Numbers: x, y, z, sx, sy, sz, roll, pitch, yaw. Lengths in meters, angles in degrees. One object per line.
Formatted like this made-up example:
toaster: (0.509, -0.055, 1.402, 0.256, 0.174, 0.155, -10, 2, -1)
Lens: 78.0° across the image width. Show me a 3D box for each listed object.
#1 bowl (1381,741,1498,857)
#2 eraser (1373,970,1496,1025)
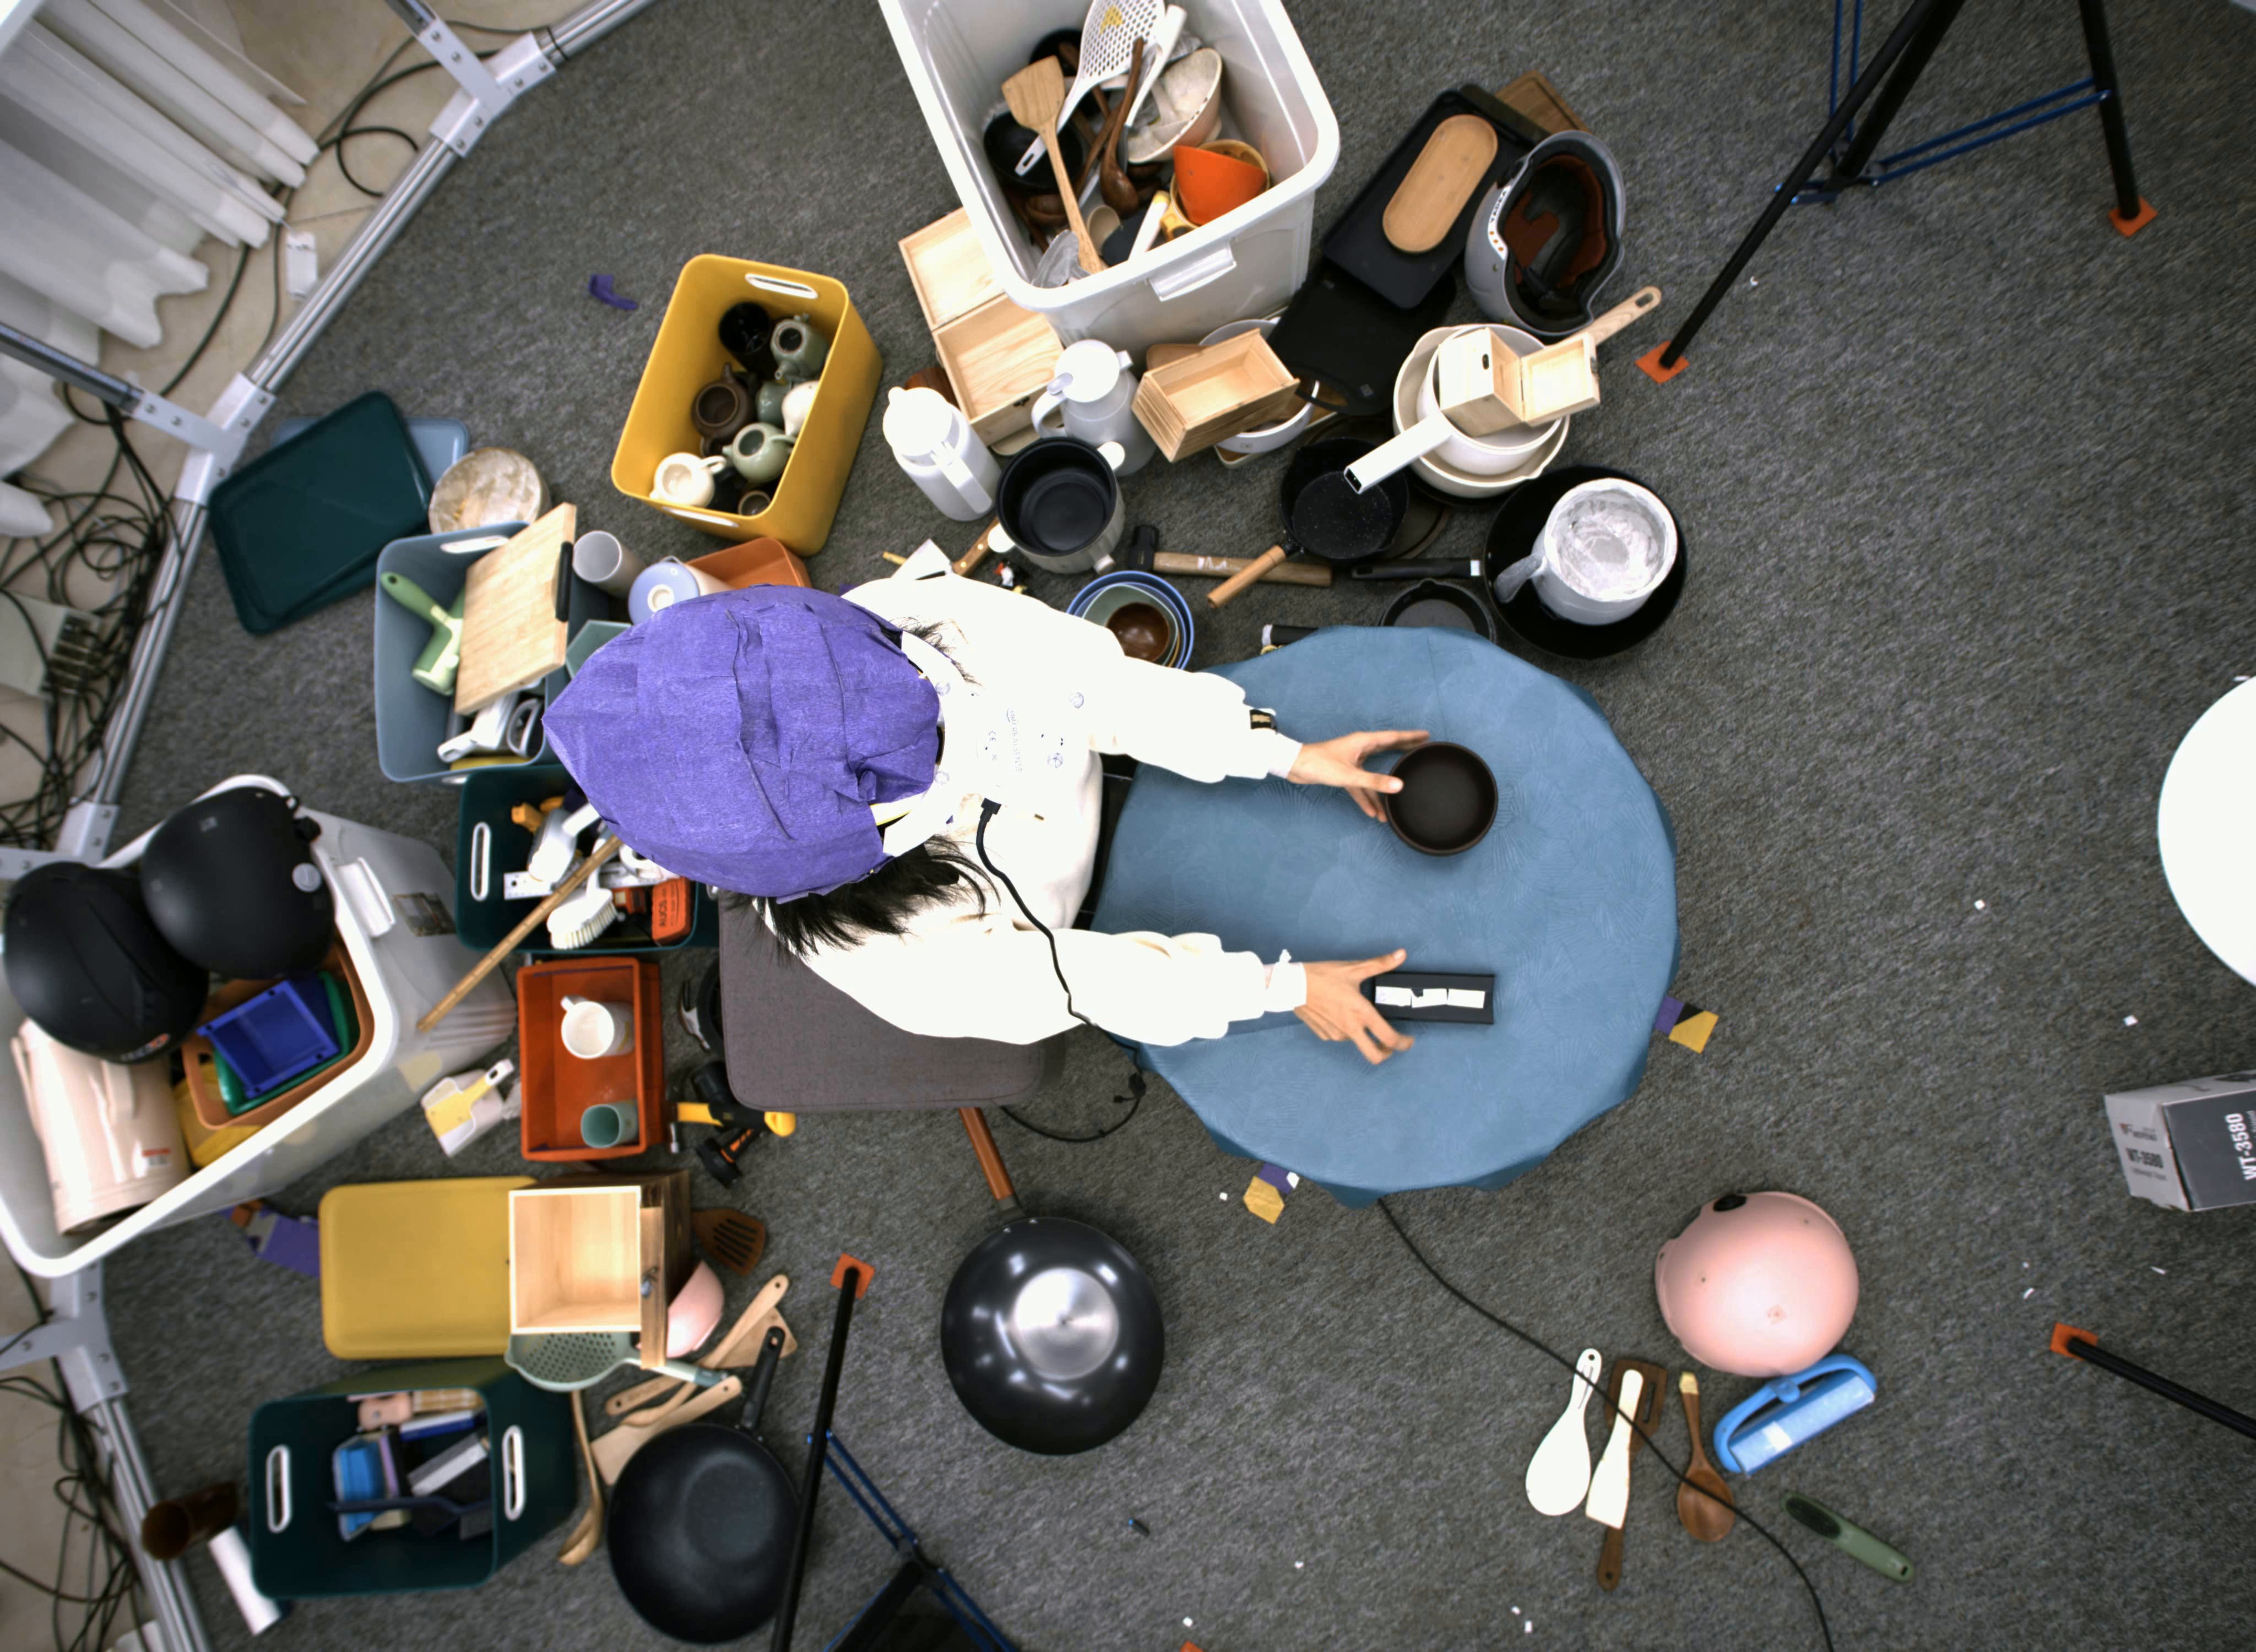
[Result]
bowl: (0.321, -0.028, 1.420, 0.118, 0.070, 0.117, -1, 86, 11)
eraser: (0.317, 0.176, 1.432, 0.126, 0.030, 0.053, 0, 85, 12)
